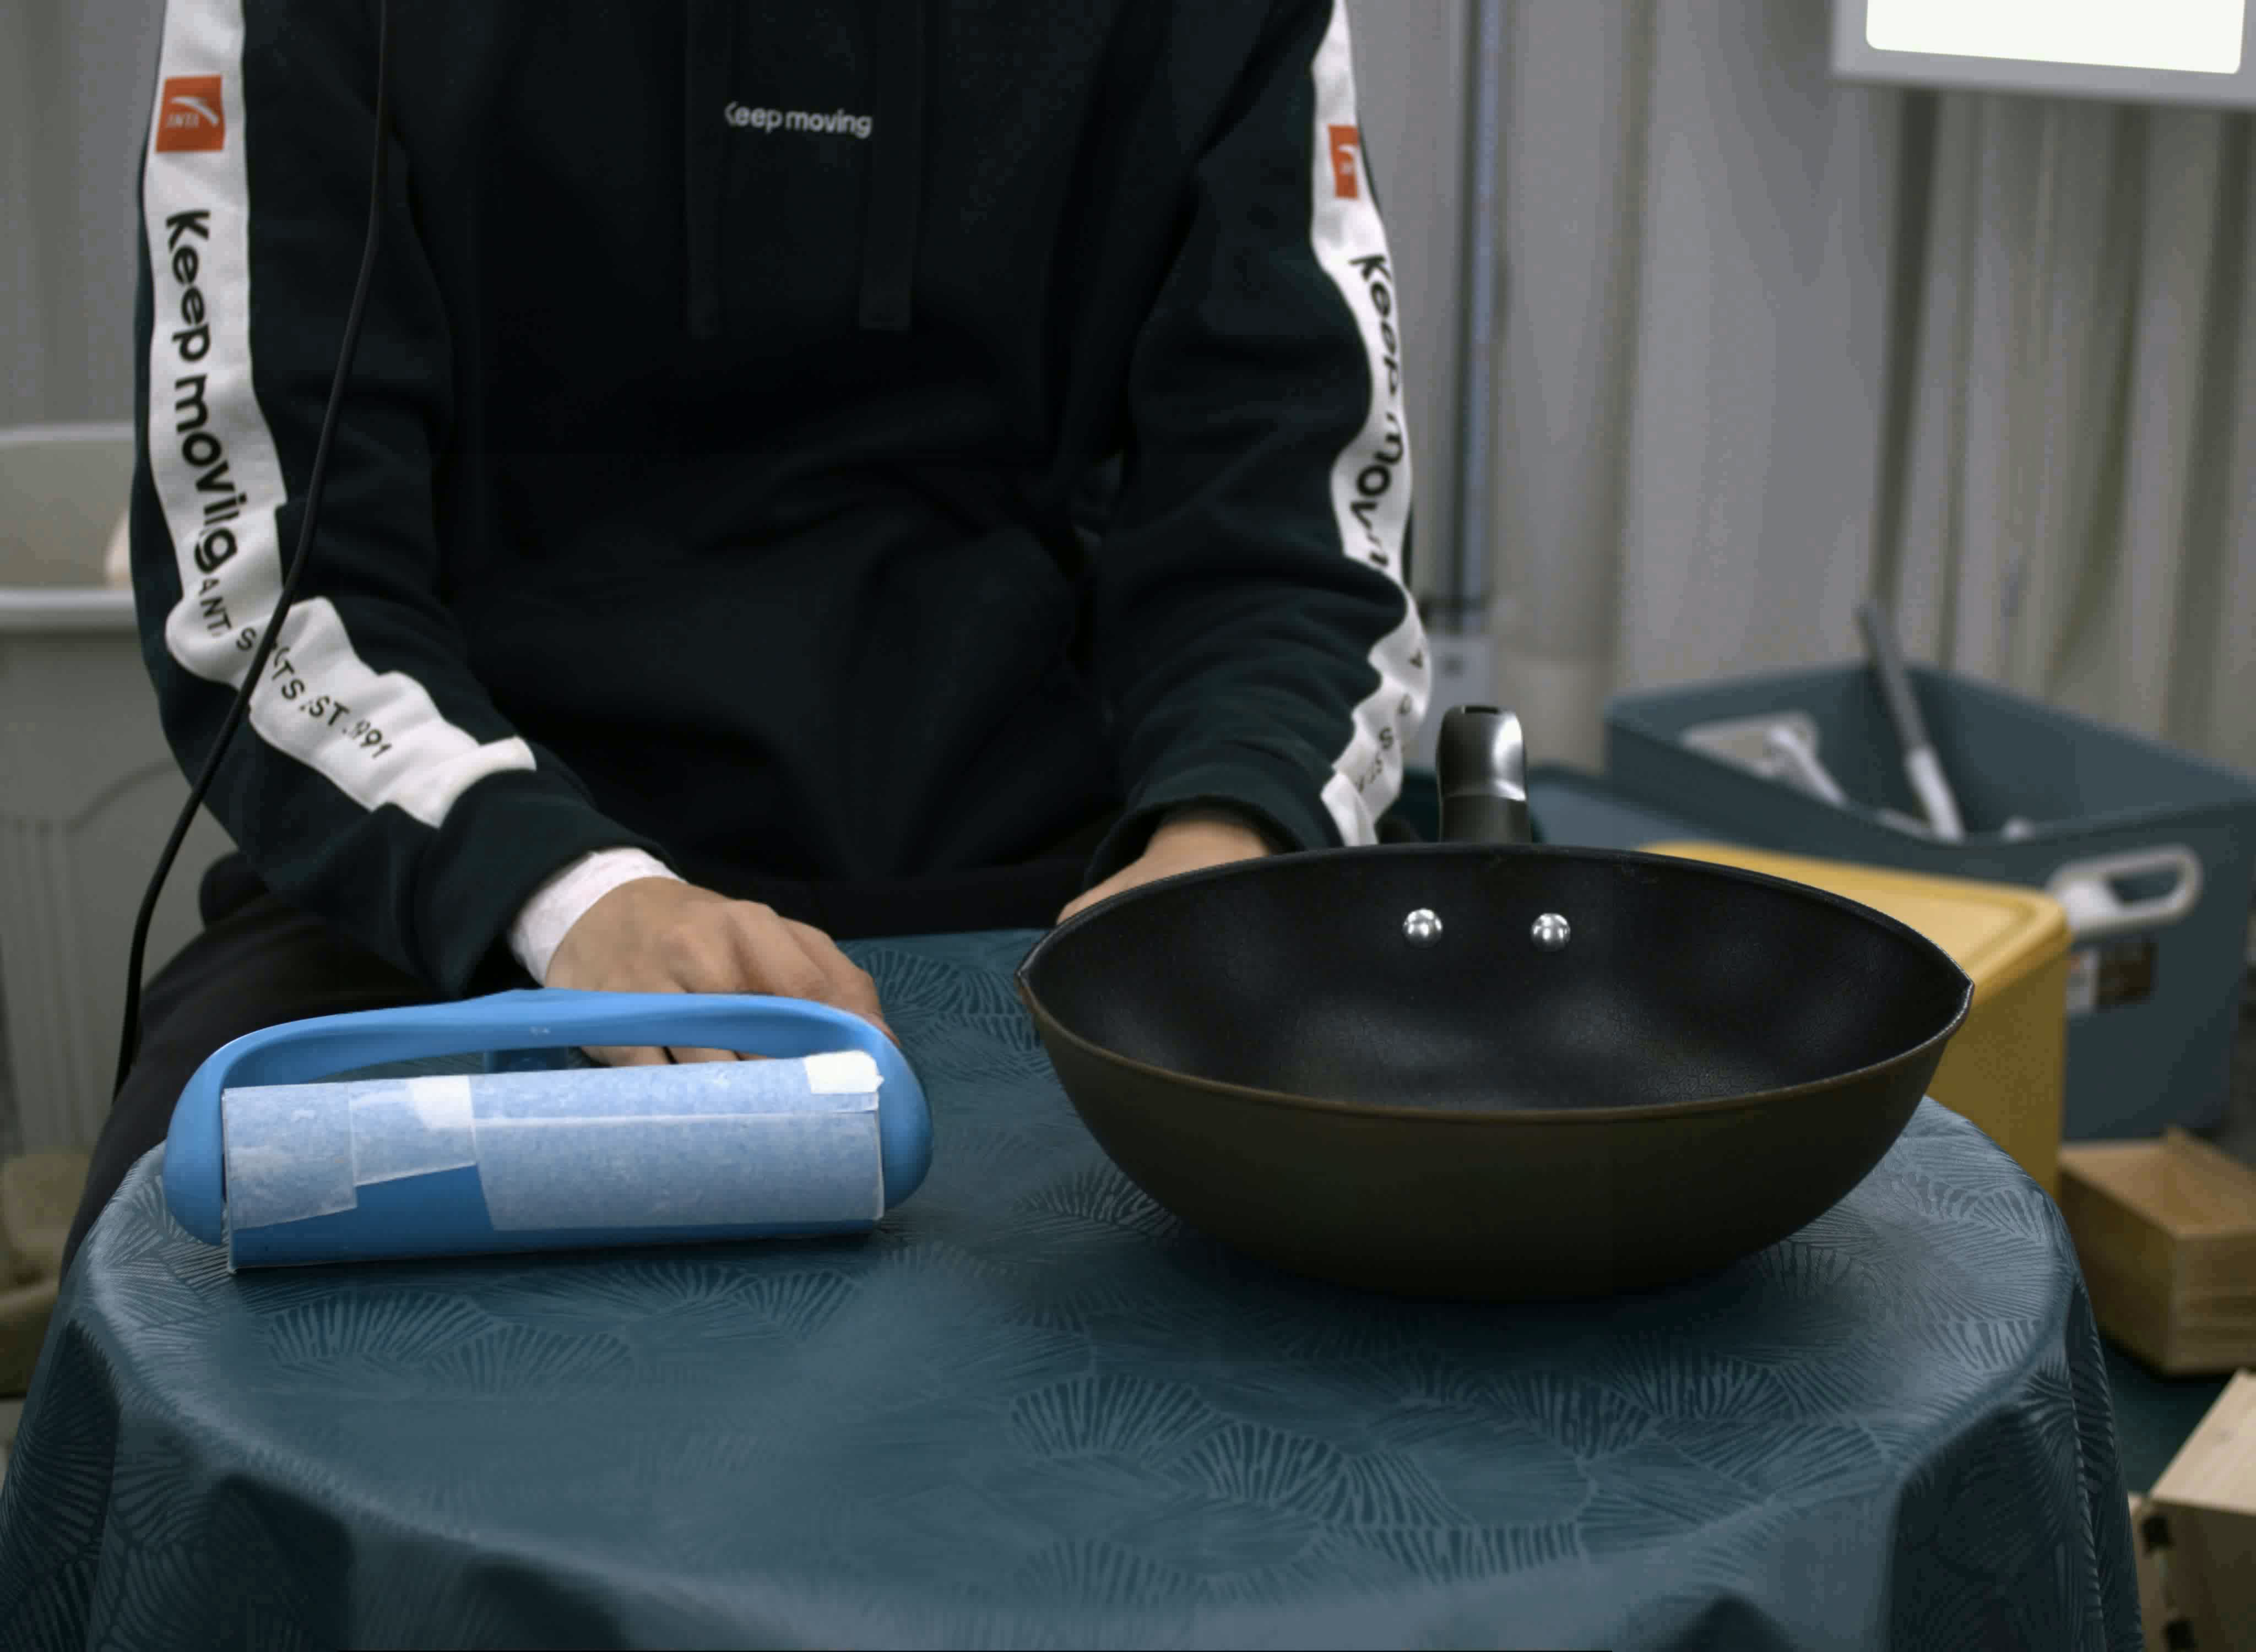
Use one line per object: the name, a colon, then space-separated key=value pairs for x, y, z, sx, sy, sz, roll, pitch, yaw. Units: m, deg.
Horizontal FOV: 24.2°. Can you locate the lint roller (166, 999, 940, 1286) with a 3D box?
lint roller: x=-0.183 y=0.083 z=1.613 sx=0.229 sy=0.068 sz=0.178 roll=-6 pitch=18 yaw=-13

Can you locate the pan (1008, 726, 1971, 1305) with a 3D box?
pan: x=0.112 y=0.057 z=1.670 sx=0.287 sy=0.087 sz=0.461 roll=2 pitch=15 yaw=3
